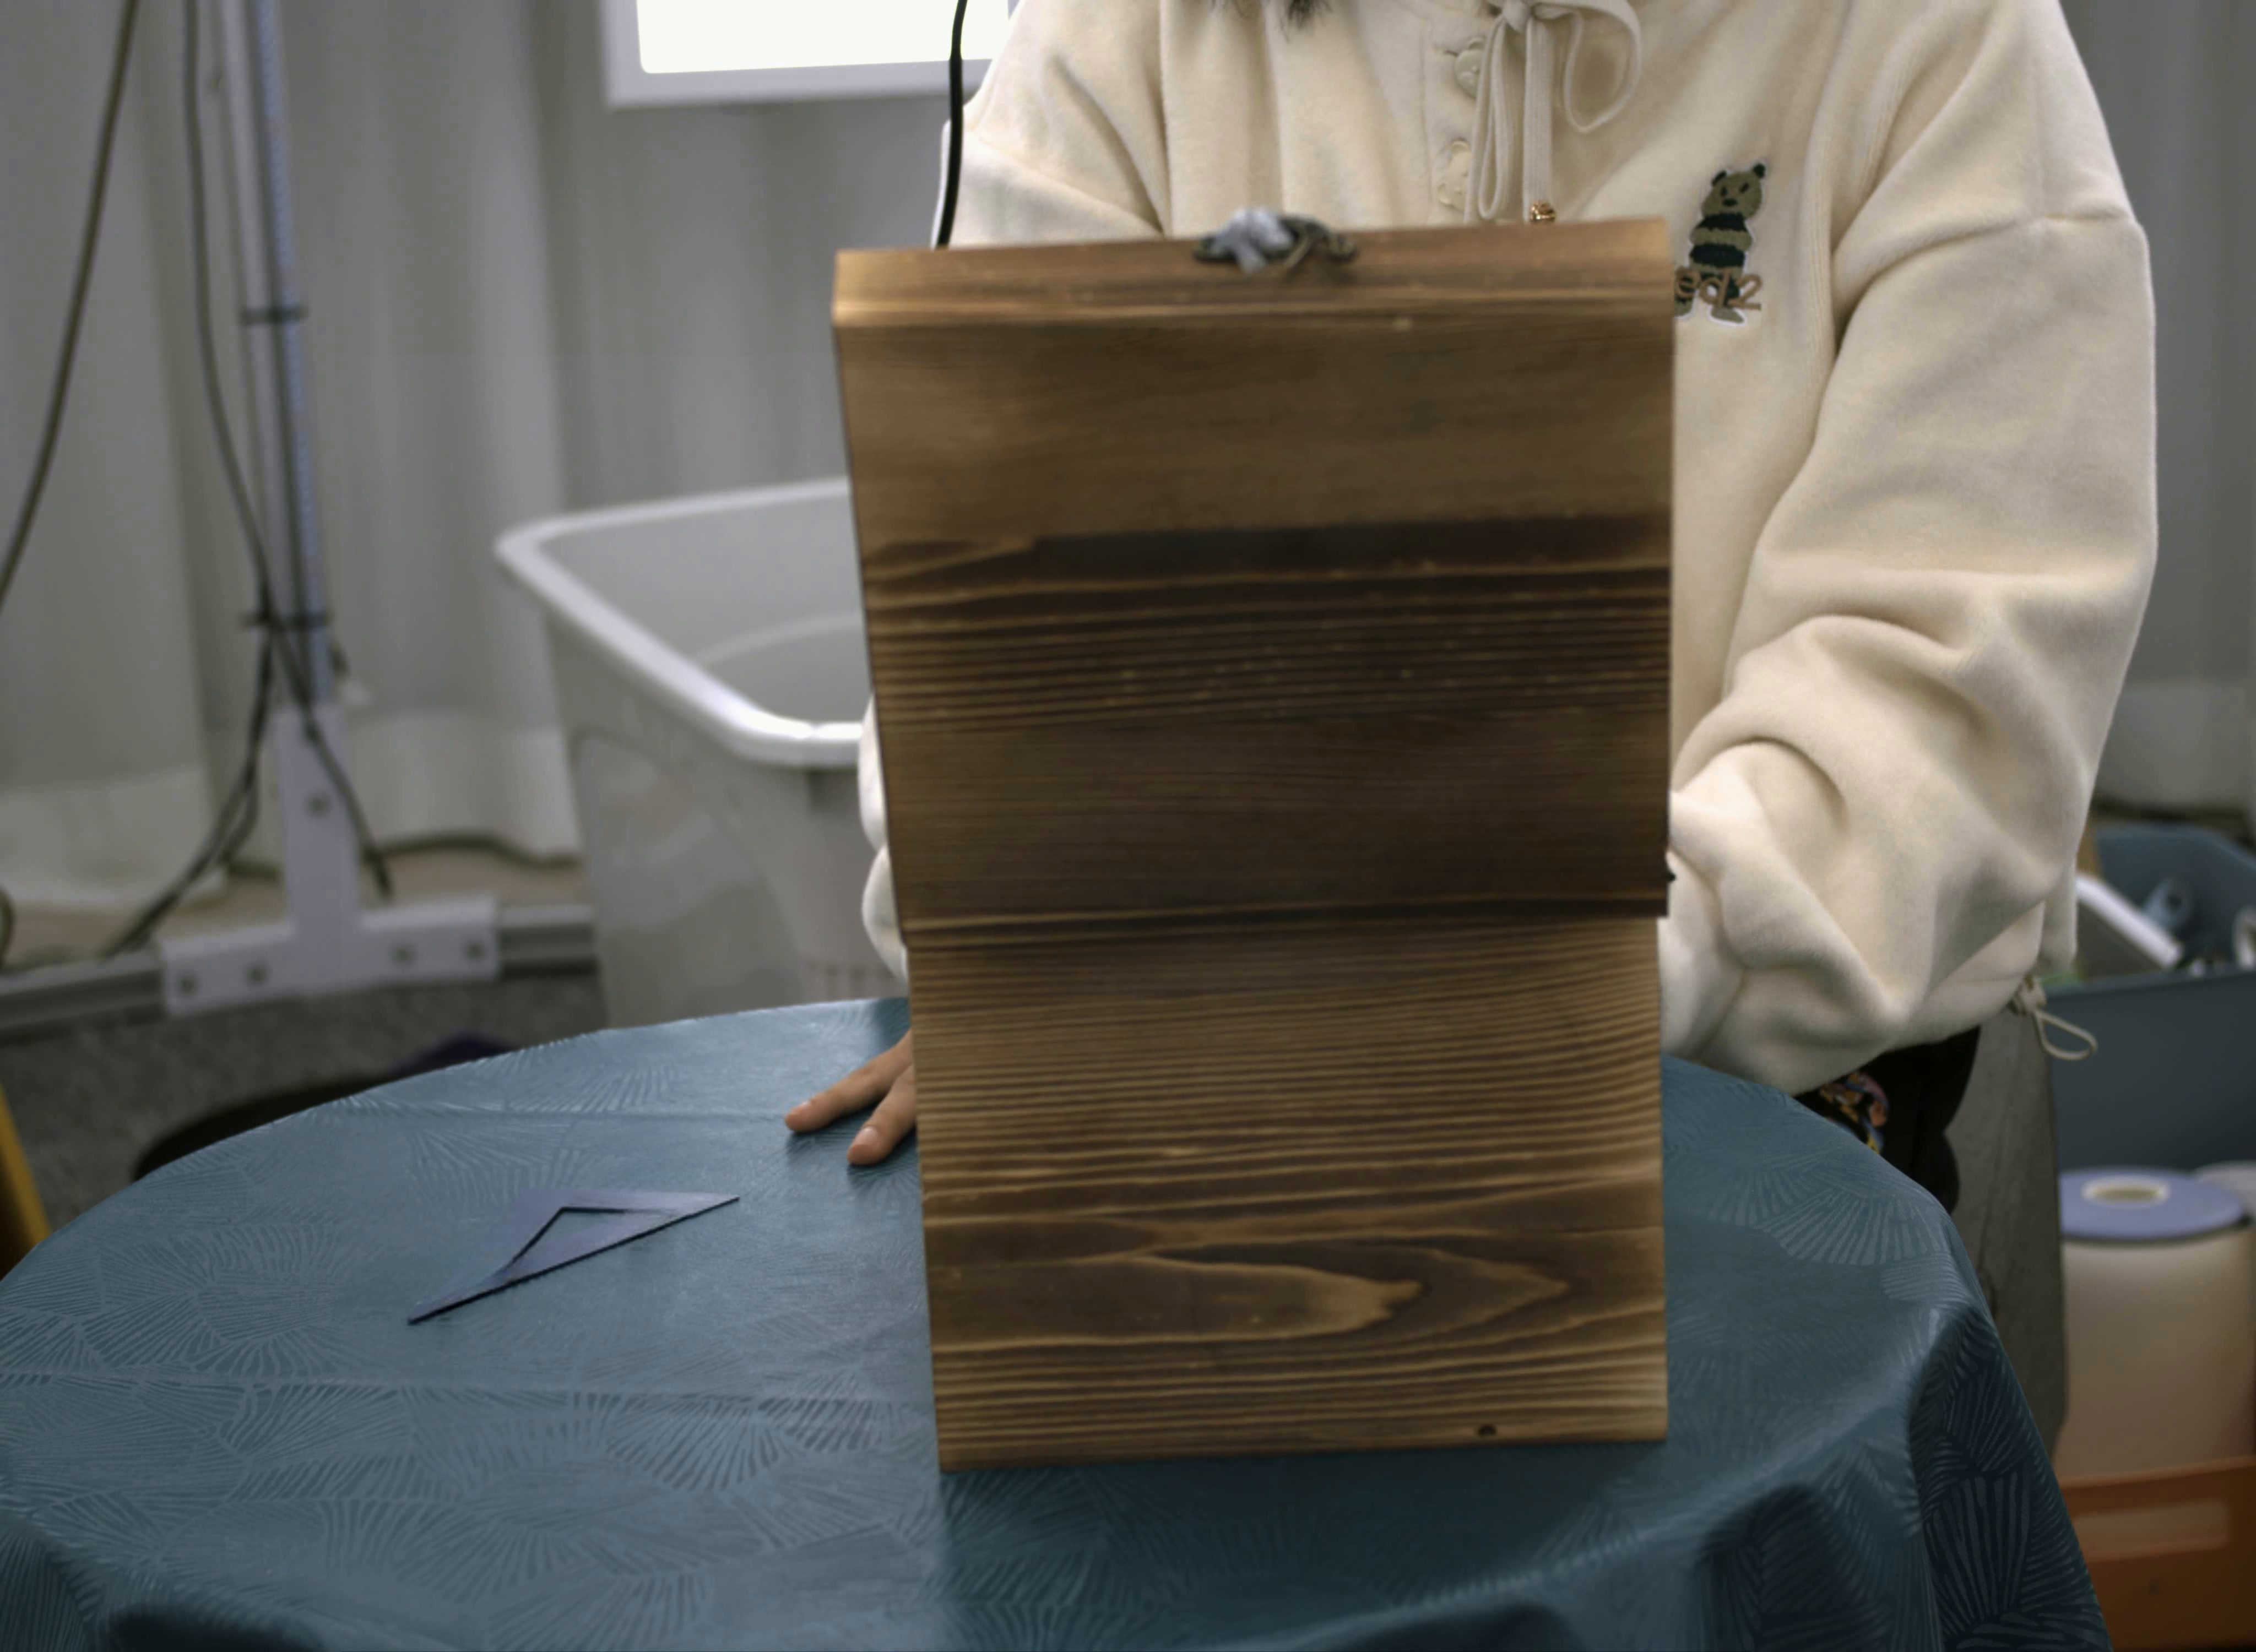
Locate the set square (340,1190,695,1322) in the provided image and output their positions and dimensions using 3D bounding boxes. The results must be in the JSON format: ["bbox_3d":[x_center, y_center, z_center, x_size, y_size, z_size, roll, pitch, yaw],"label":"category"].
[{"bbox_3d":[-0.201,0.129,1.693,0.132,0.006,0.061,-17,21,-42],"label":"set square"}]

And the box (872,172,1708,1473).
[{"bbox_3d":[0.042,-0.012,1.492,0.208,0.374,0.324,-2,15,1],"label":"box"}]
